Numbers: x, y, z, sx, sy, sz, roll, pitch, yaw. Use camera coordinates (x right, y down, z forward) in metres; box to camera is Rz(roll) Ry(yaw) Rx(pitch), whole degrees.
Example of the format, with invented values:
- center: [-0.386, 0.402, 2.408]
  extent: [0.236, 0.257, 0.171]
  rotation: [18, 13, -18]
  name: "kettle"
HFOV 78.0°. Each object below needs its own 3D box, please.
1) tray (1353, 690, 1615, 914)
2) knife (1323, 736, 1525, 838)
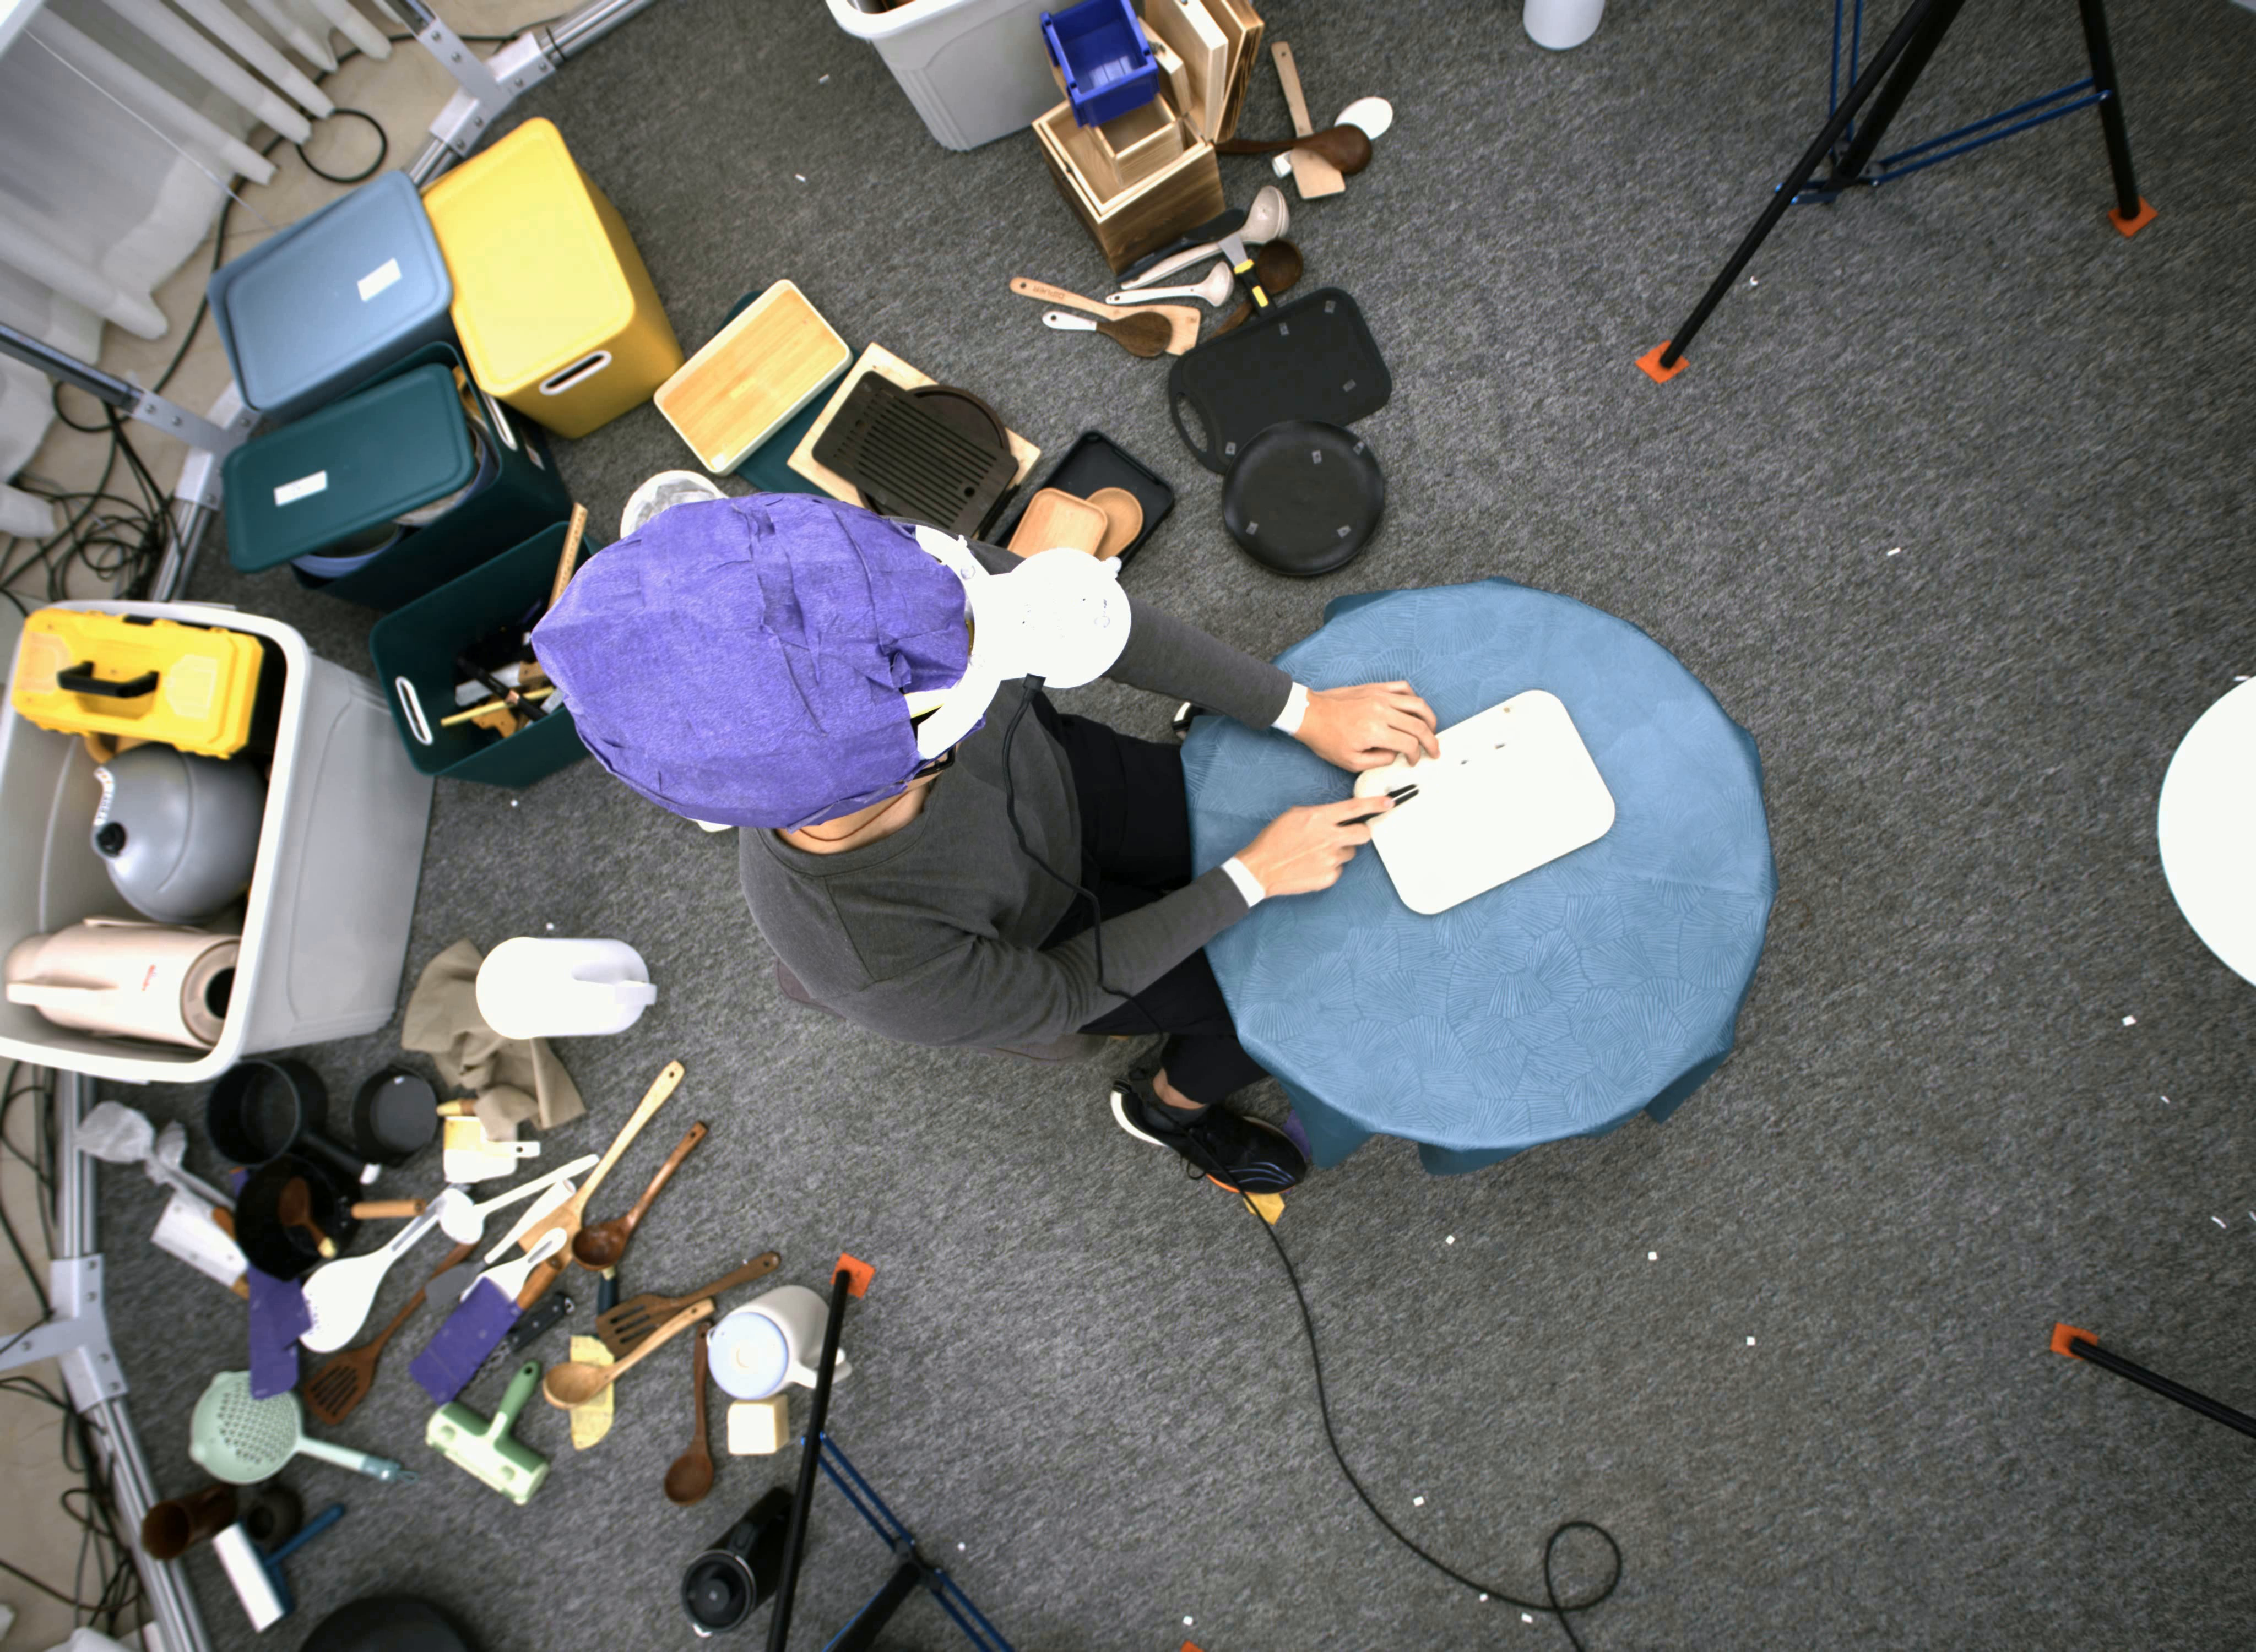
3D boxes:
- center: [0.370, -0.026, 1.438]
  extent: [0.241, 0.017, 0.170]
  rotation: [-26, 83, 8]
  name: "tray"
- center: [0.311, -0.046, 1.433]
  extent: [0.238, 0.024, 0.016]
  rotation: [-26, 80, -2]
  name: "knife"
